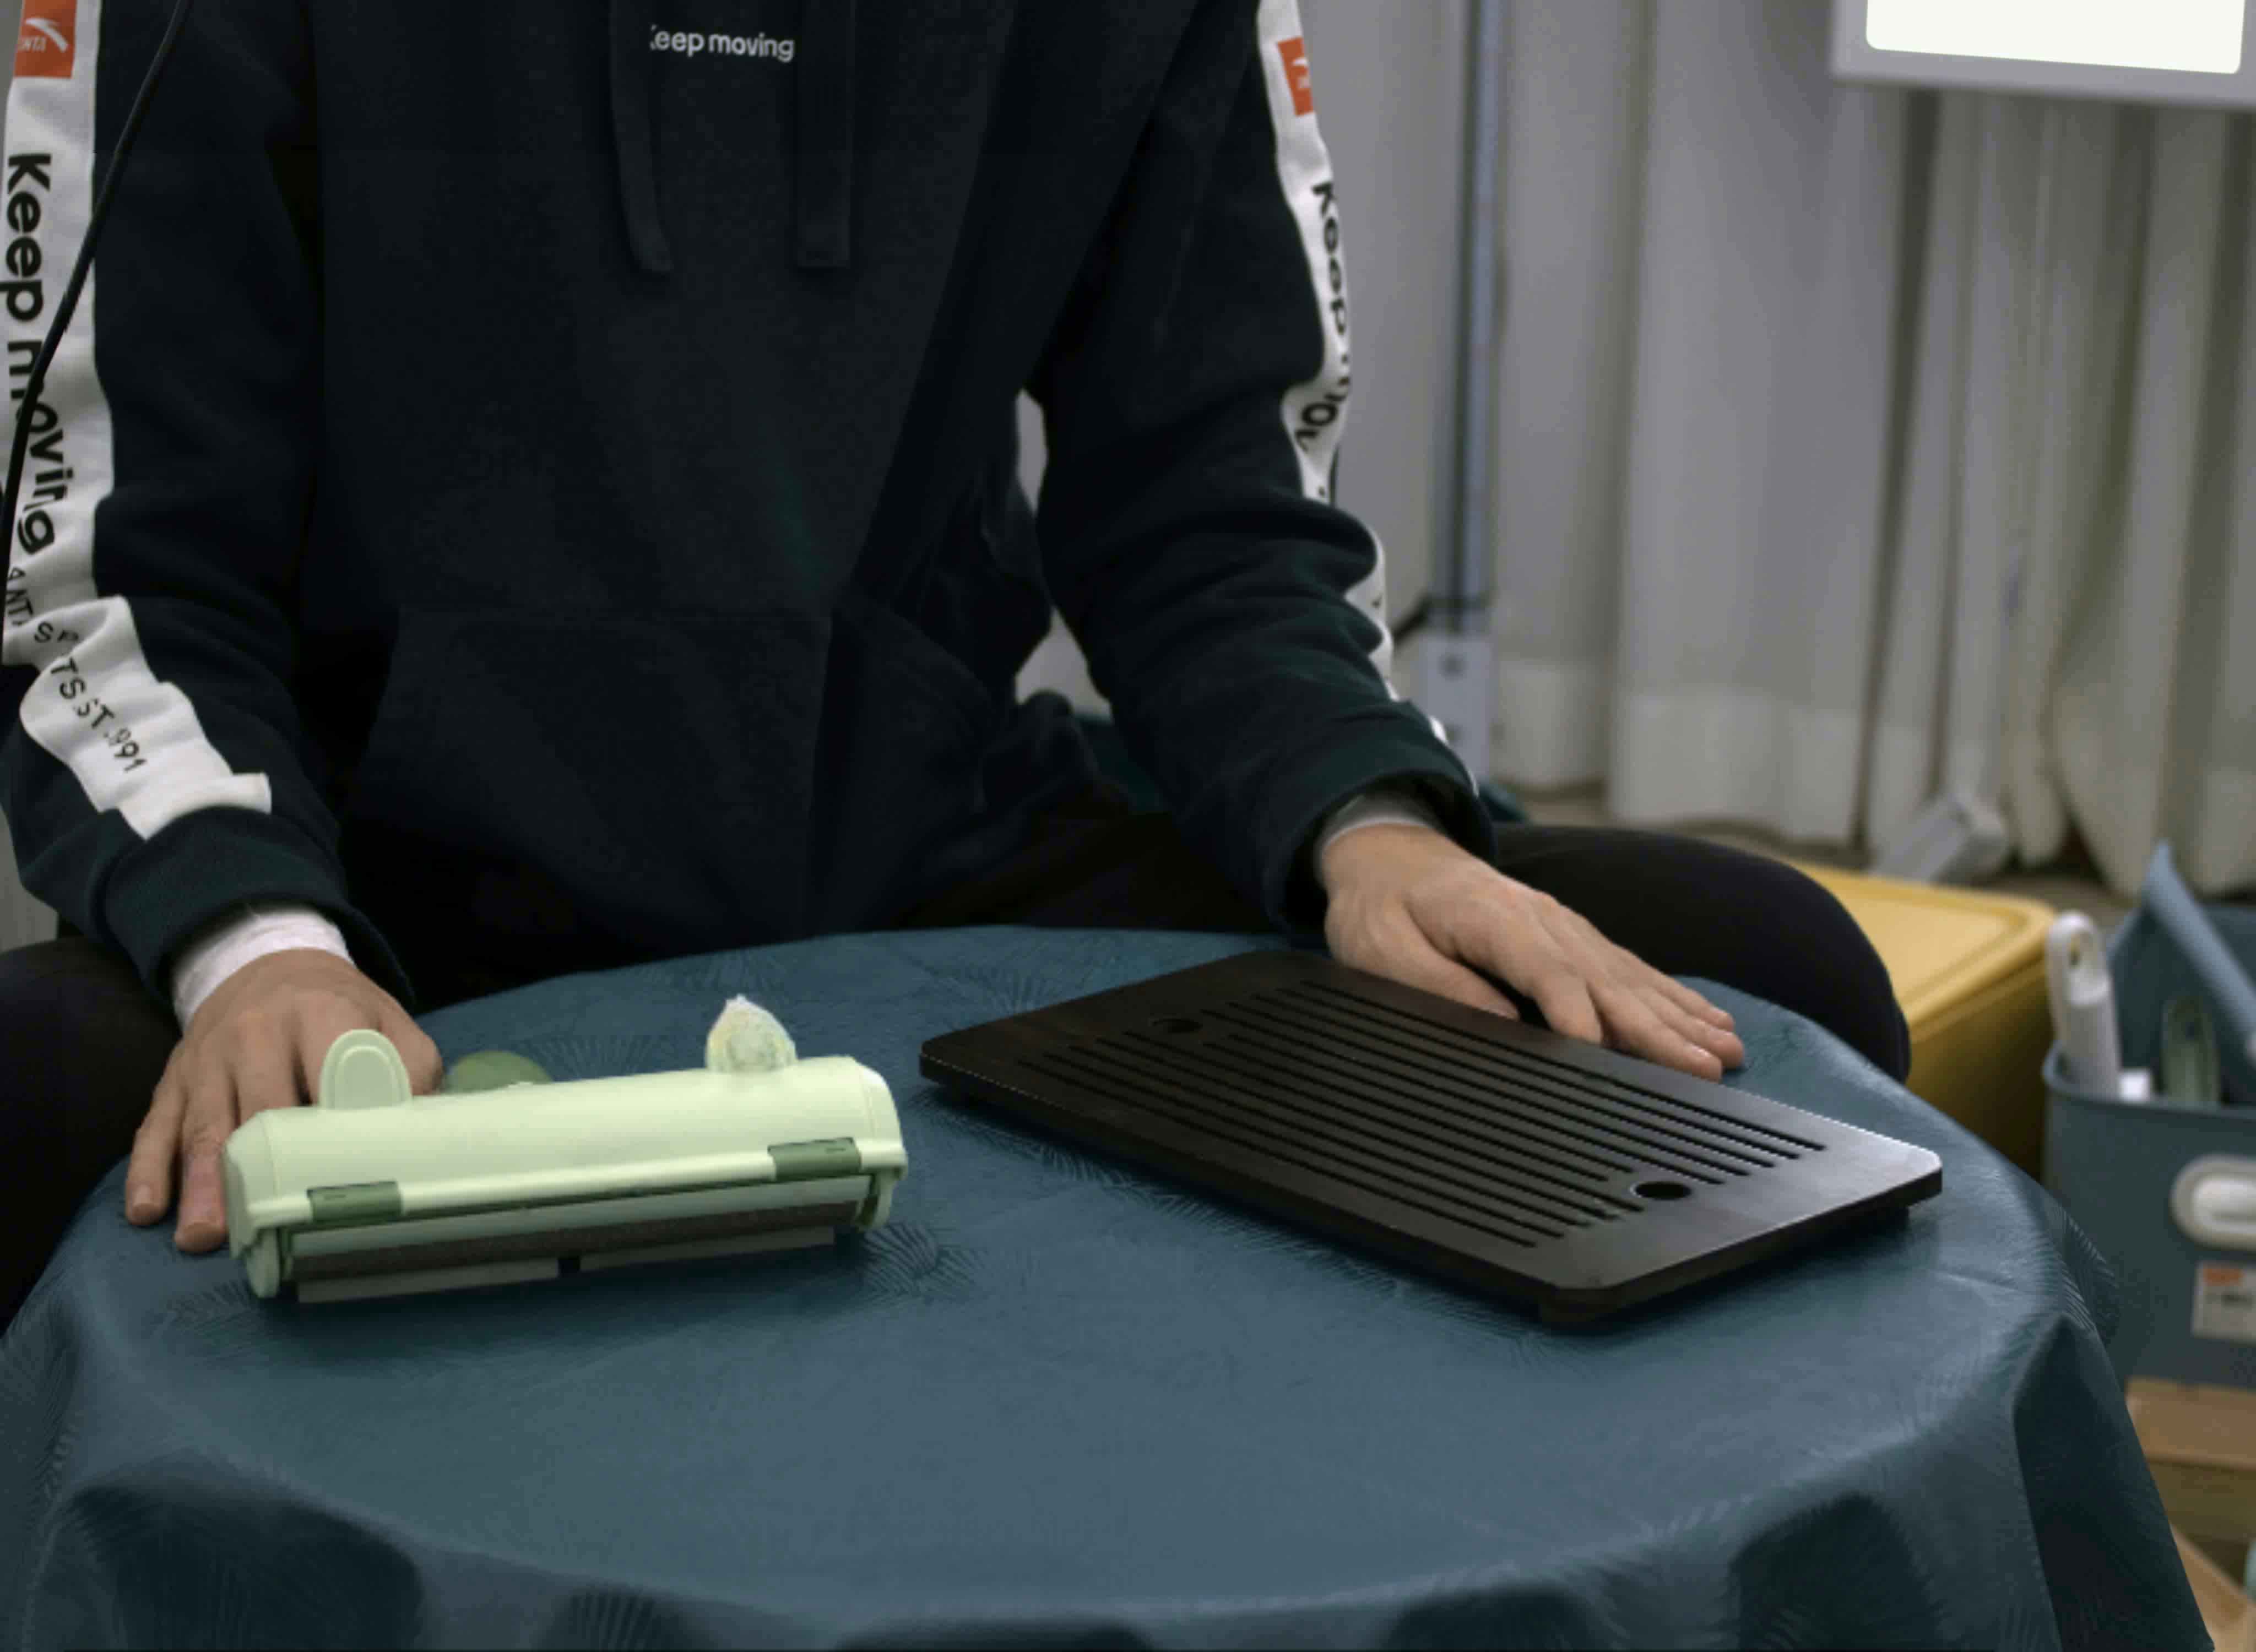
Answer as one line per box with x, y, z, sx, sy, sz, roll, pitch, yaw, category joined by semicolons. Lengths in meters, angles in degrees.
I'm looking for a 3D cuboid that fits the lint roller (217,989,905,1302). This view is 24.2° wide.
-0.182;0.078;1.586;0.199;0.083;0.181;-5;20;-17;lint roller

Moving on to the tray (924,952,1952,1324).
0.092;0.094;1.654;0.171;0.019;0.302;-14;21;-41;tray
